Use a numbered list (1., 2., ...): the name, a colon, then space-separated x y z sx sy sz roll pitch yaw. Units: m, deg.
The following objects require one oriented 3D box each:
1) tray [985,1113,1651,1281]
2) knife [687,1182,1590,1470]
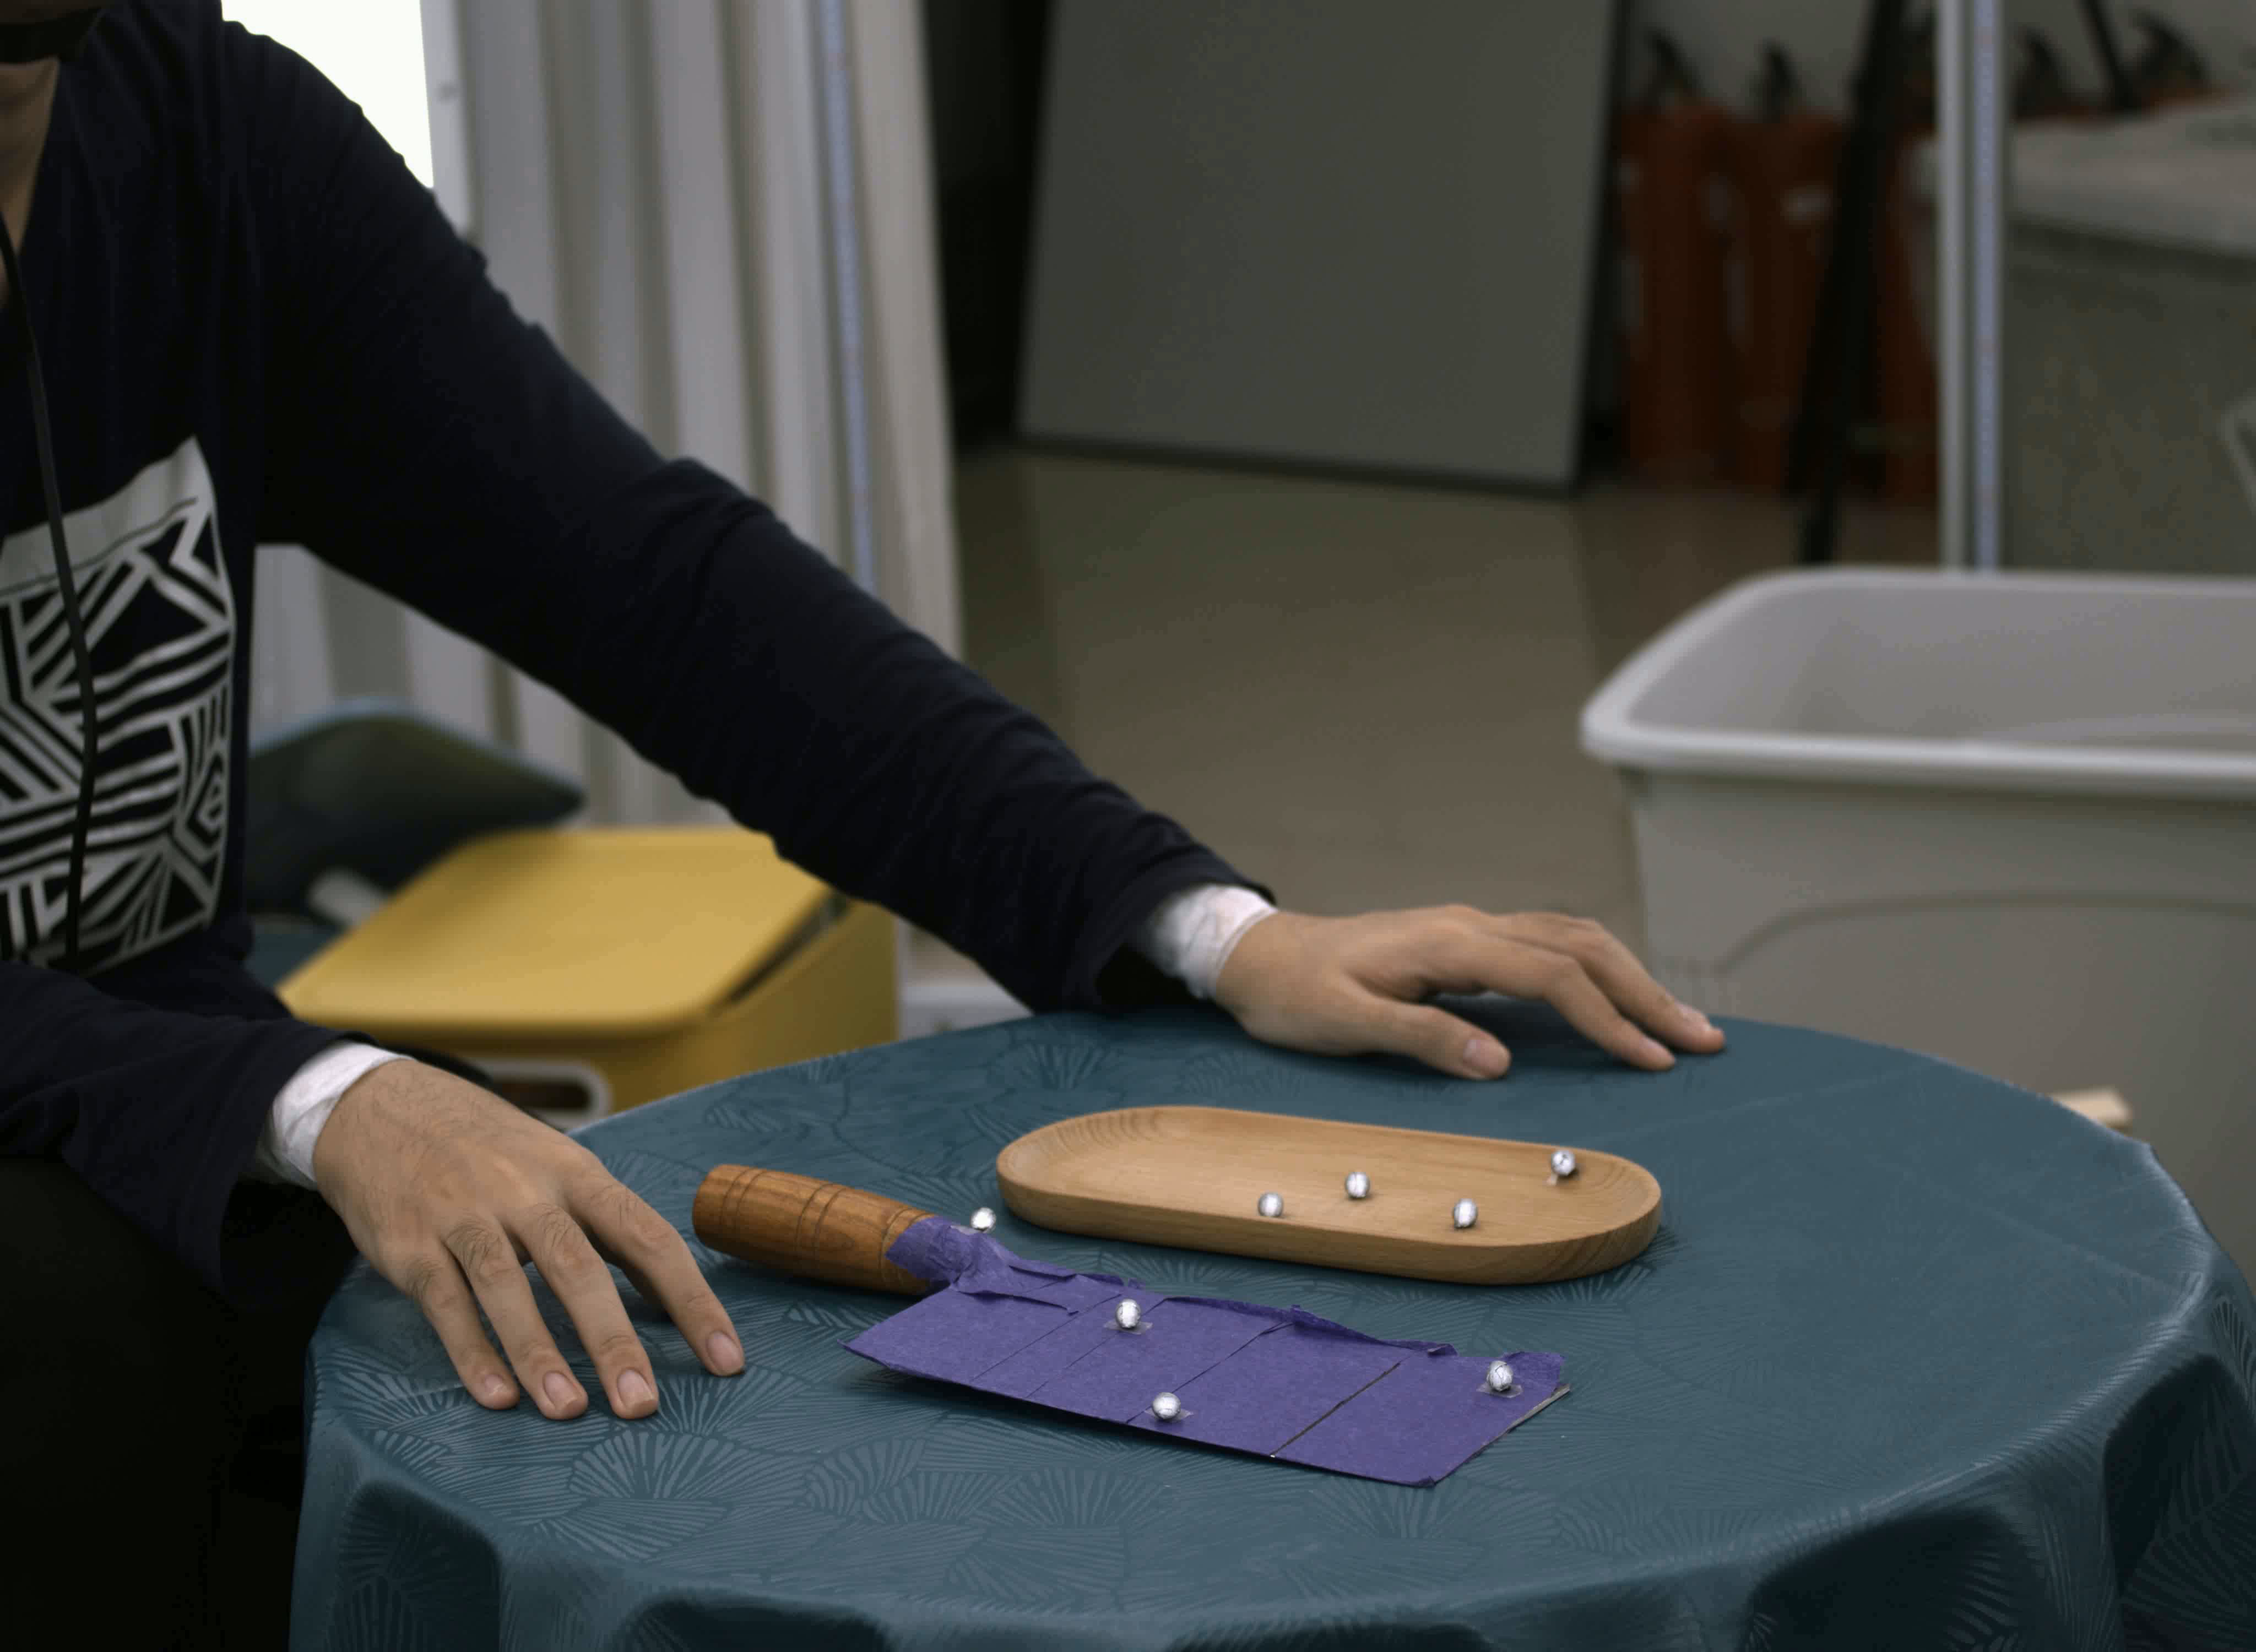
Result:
1. tray: 0.060 0.119 1.733 0.232 0.020 0.100 2 14 31
2. knife: -0.019 0.148 1.612 0.317 0.032 0.102 6 16 34
